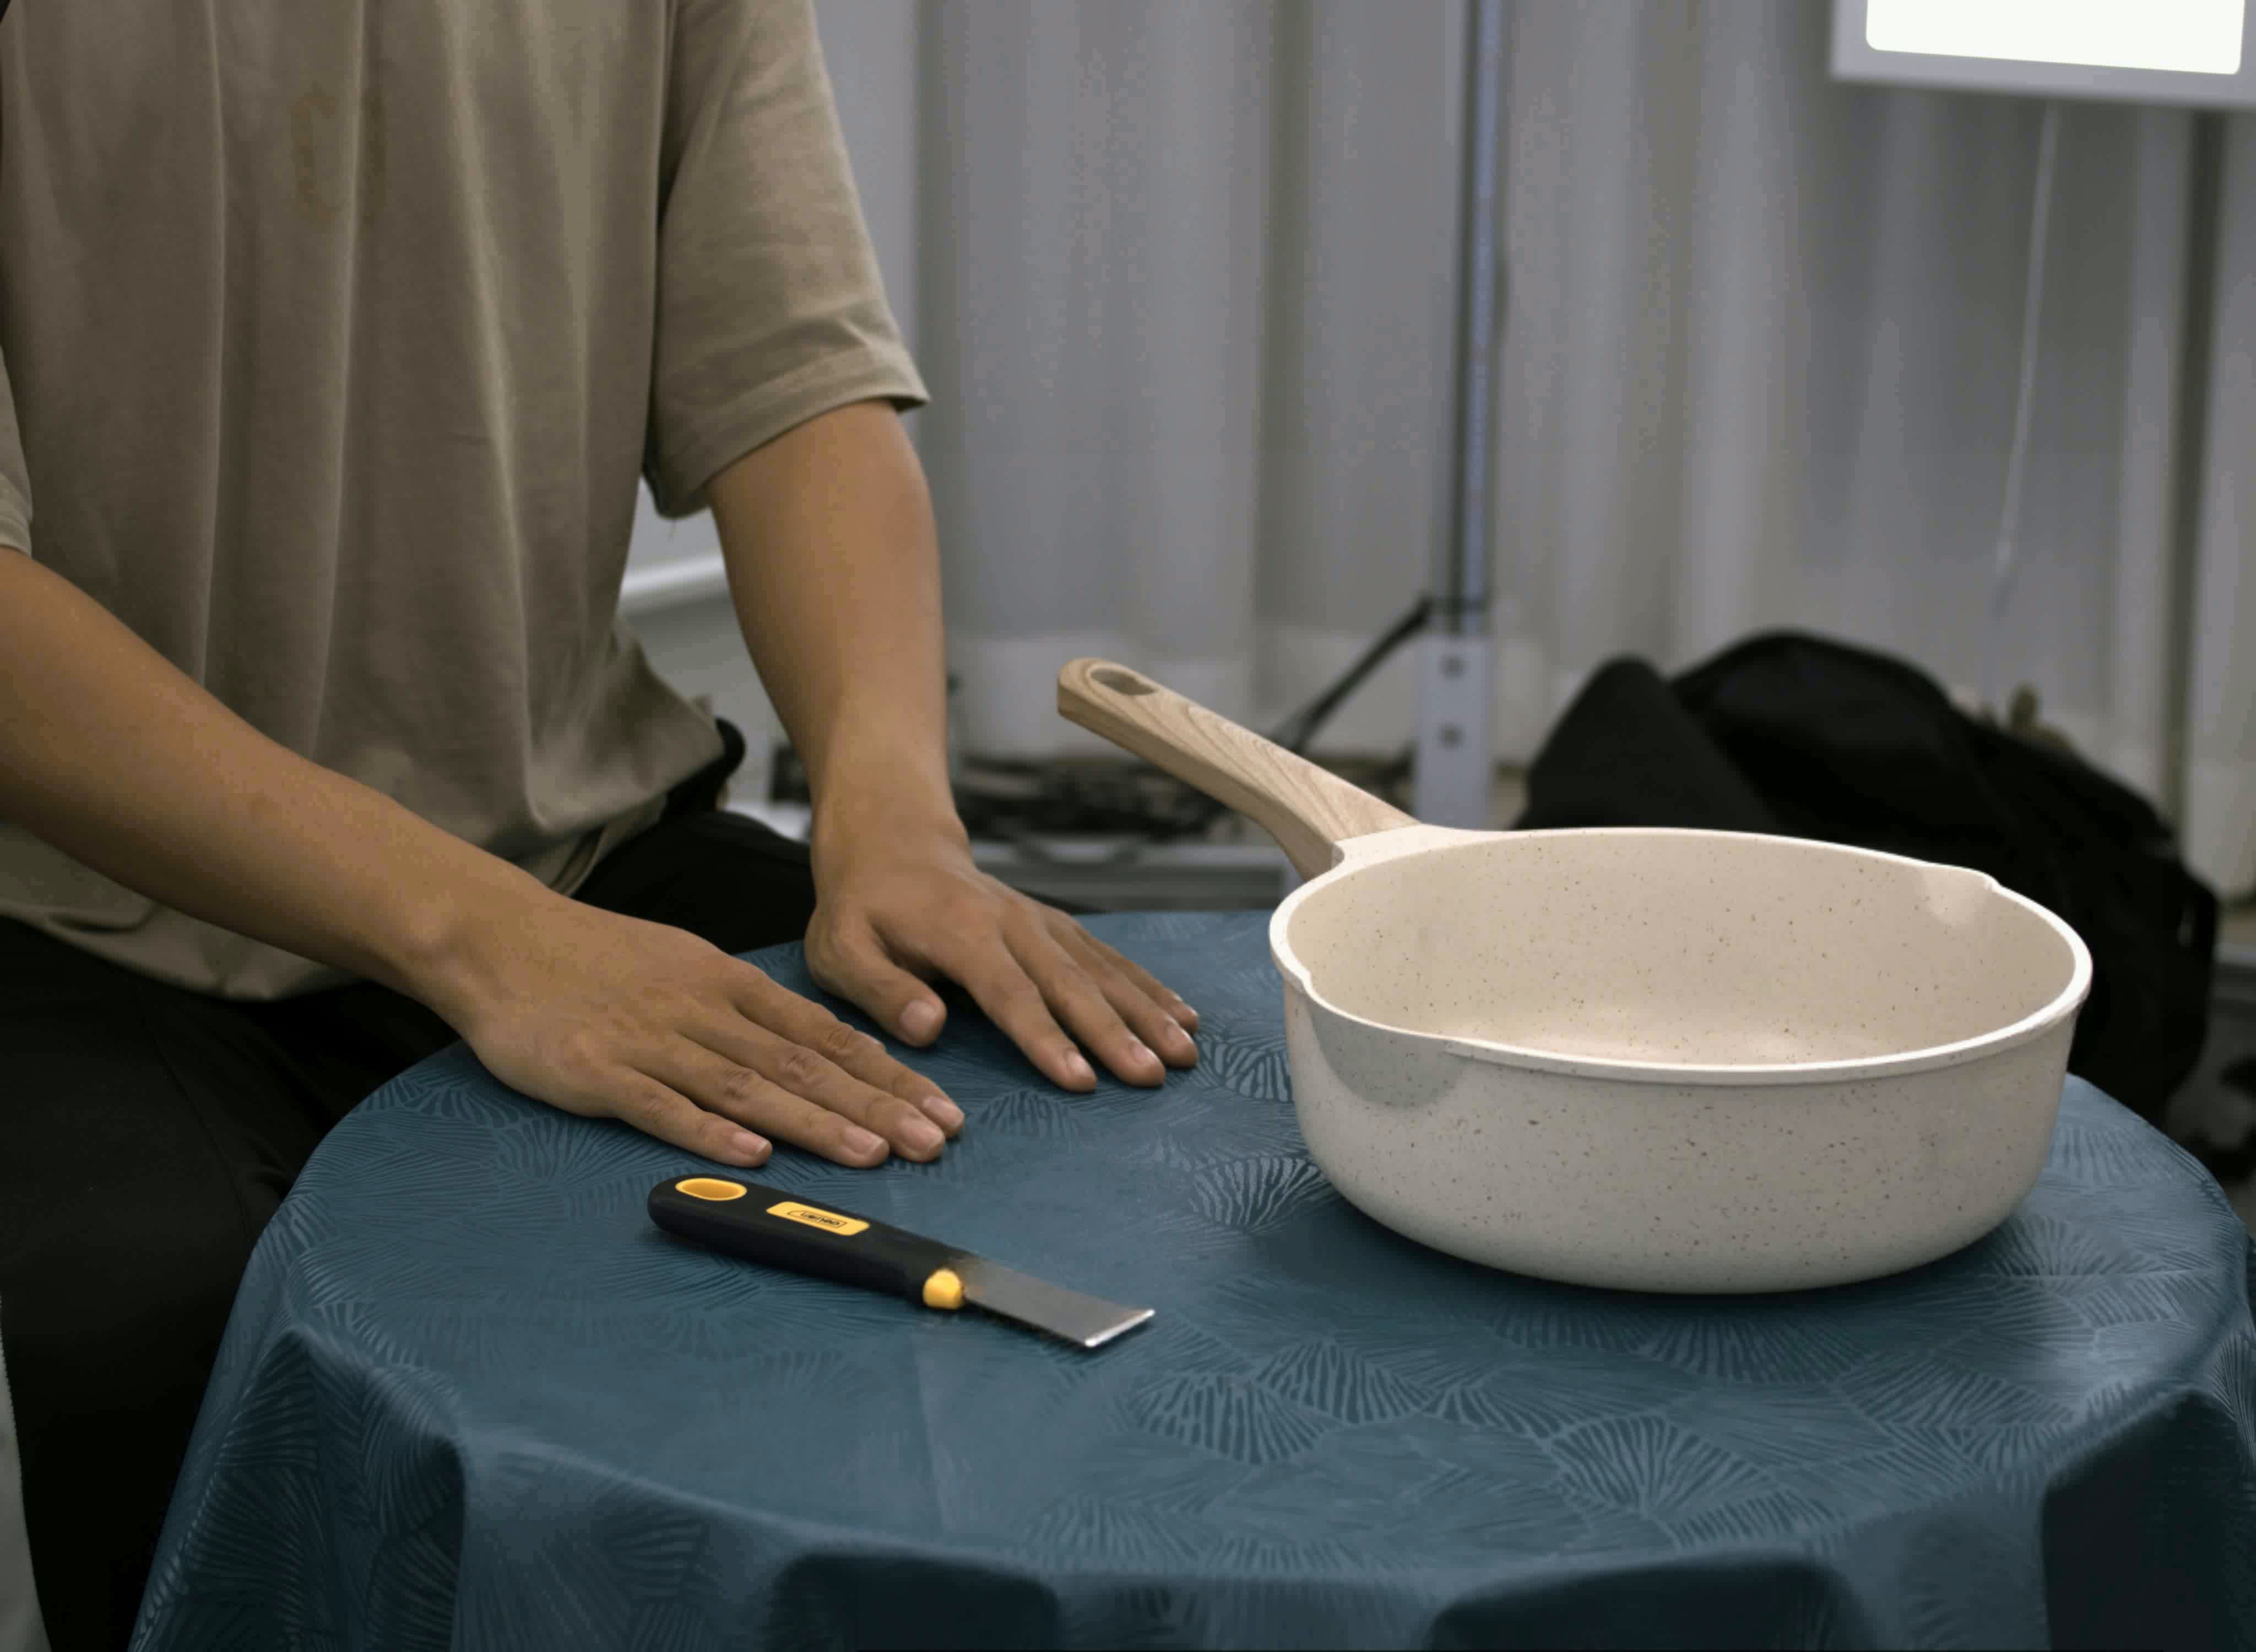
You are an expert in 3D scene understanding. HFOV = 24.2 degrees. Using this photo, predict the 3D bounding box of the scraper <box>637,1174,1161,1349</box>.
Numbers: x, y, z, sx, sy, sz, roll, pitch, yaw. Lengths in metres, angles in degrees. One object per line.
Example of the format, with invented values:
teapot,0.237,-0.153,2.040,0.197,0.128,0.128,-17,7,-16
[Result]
scraper,-0.071,0.127,1.540,0.169,0.015,0.039,12,23,28

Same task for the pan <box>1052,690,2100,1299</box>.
pan,0.116,0.047,1.694,0.264,0.103,0.429,-15,21,-36
